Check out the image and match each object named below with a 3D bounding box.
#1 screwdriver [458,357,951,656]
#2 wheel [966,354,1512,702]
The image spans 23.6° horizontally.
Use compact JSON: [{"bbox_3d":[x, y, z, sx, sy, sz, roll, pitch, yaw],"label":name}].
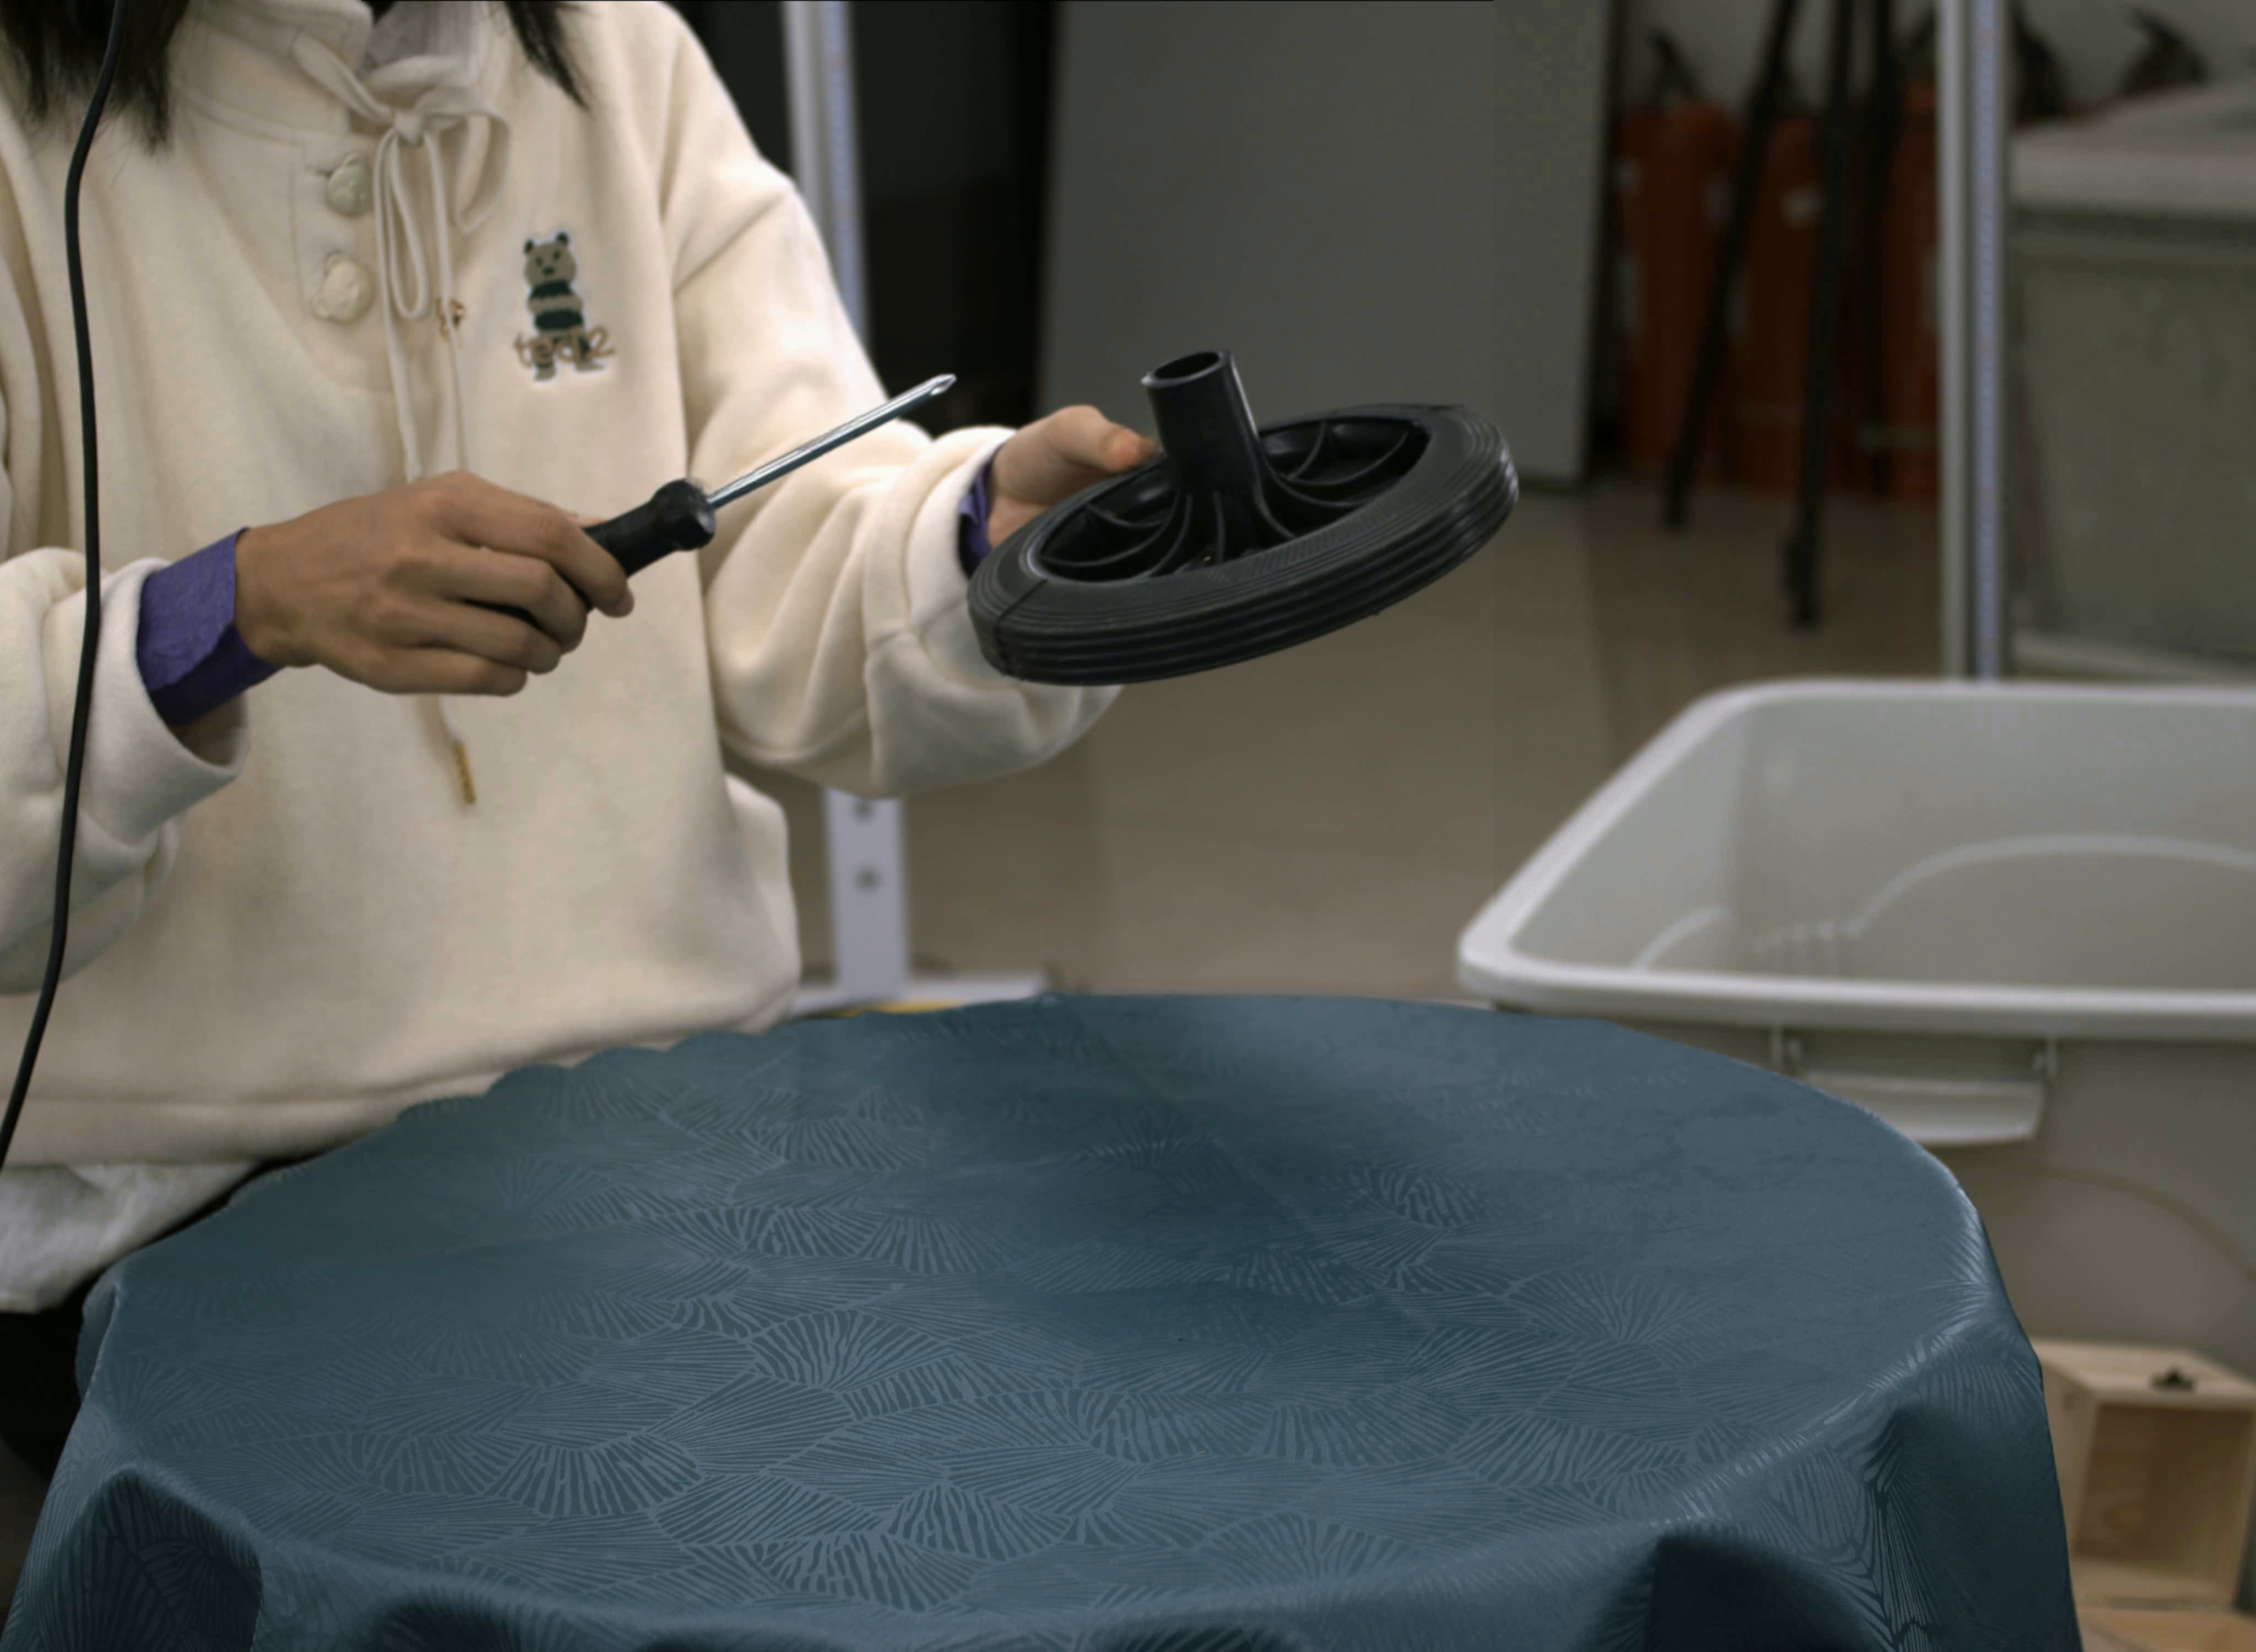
[{"bbox_3d":[-0.141,-0.111,1.798,0.196,0.031,0.031,-31,6,17],"label":"screwdriver"},{"bbox_3d":[0.030,-0.111,1.772,0.187,0.079,0.190,-14,22,14],"label":"wheel"}]
